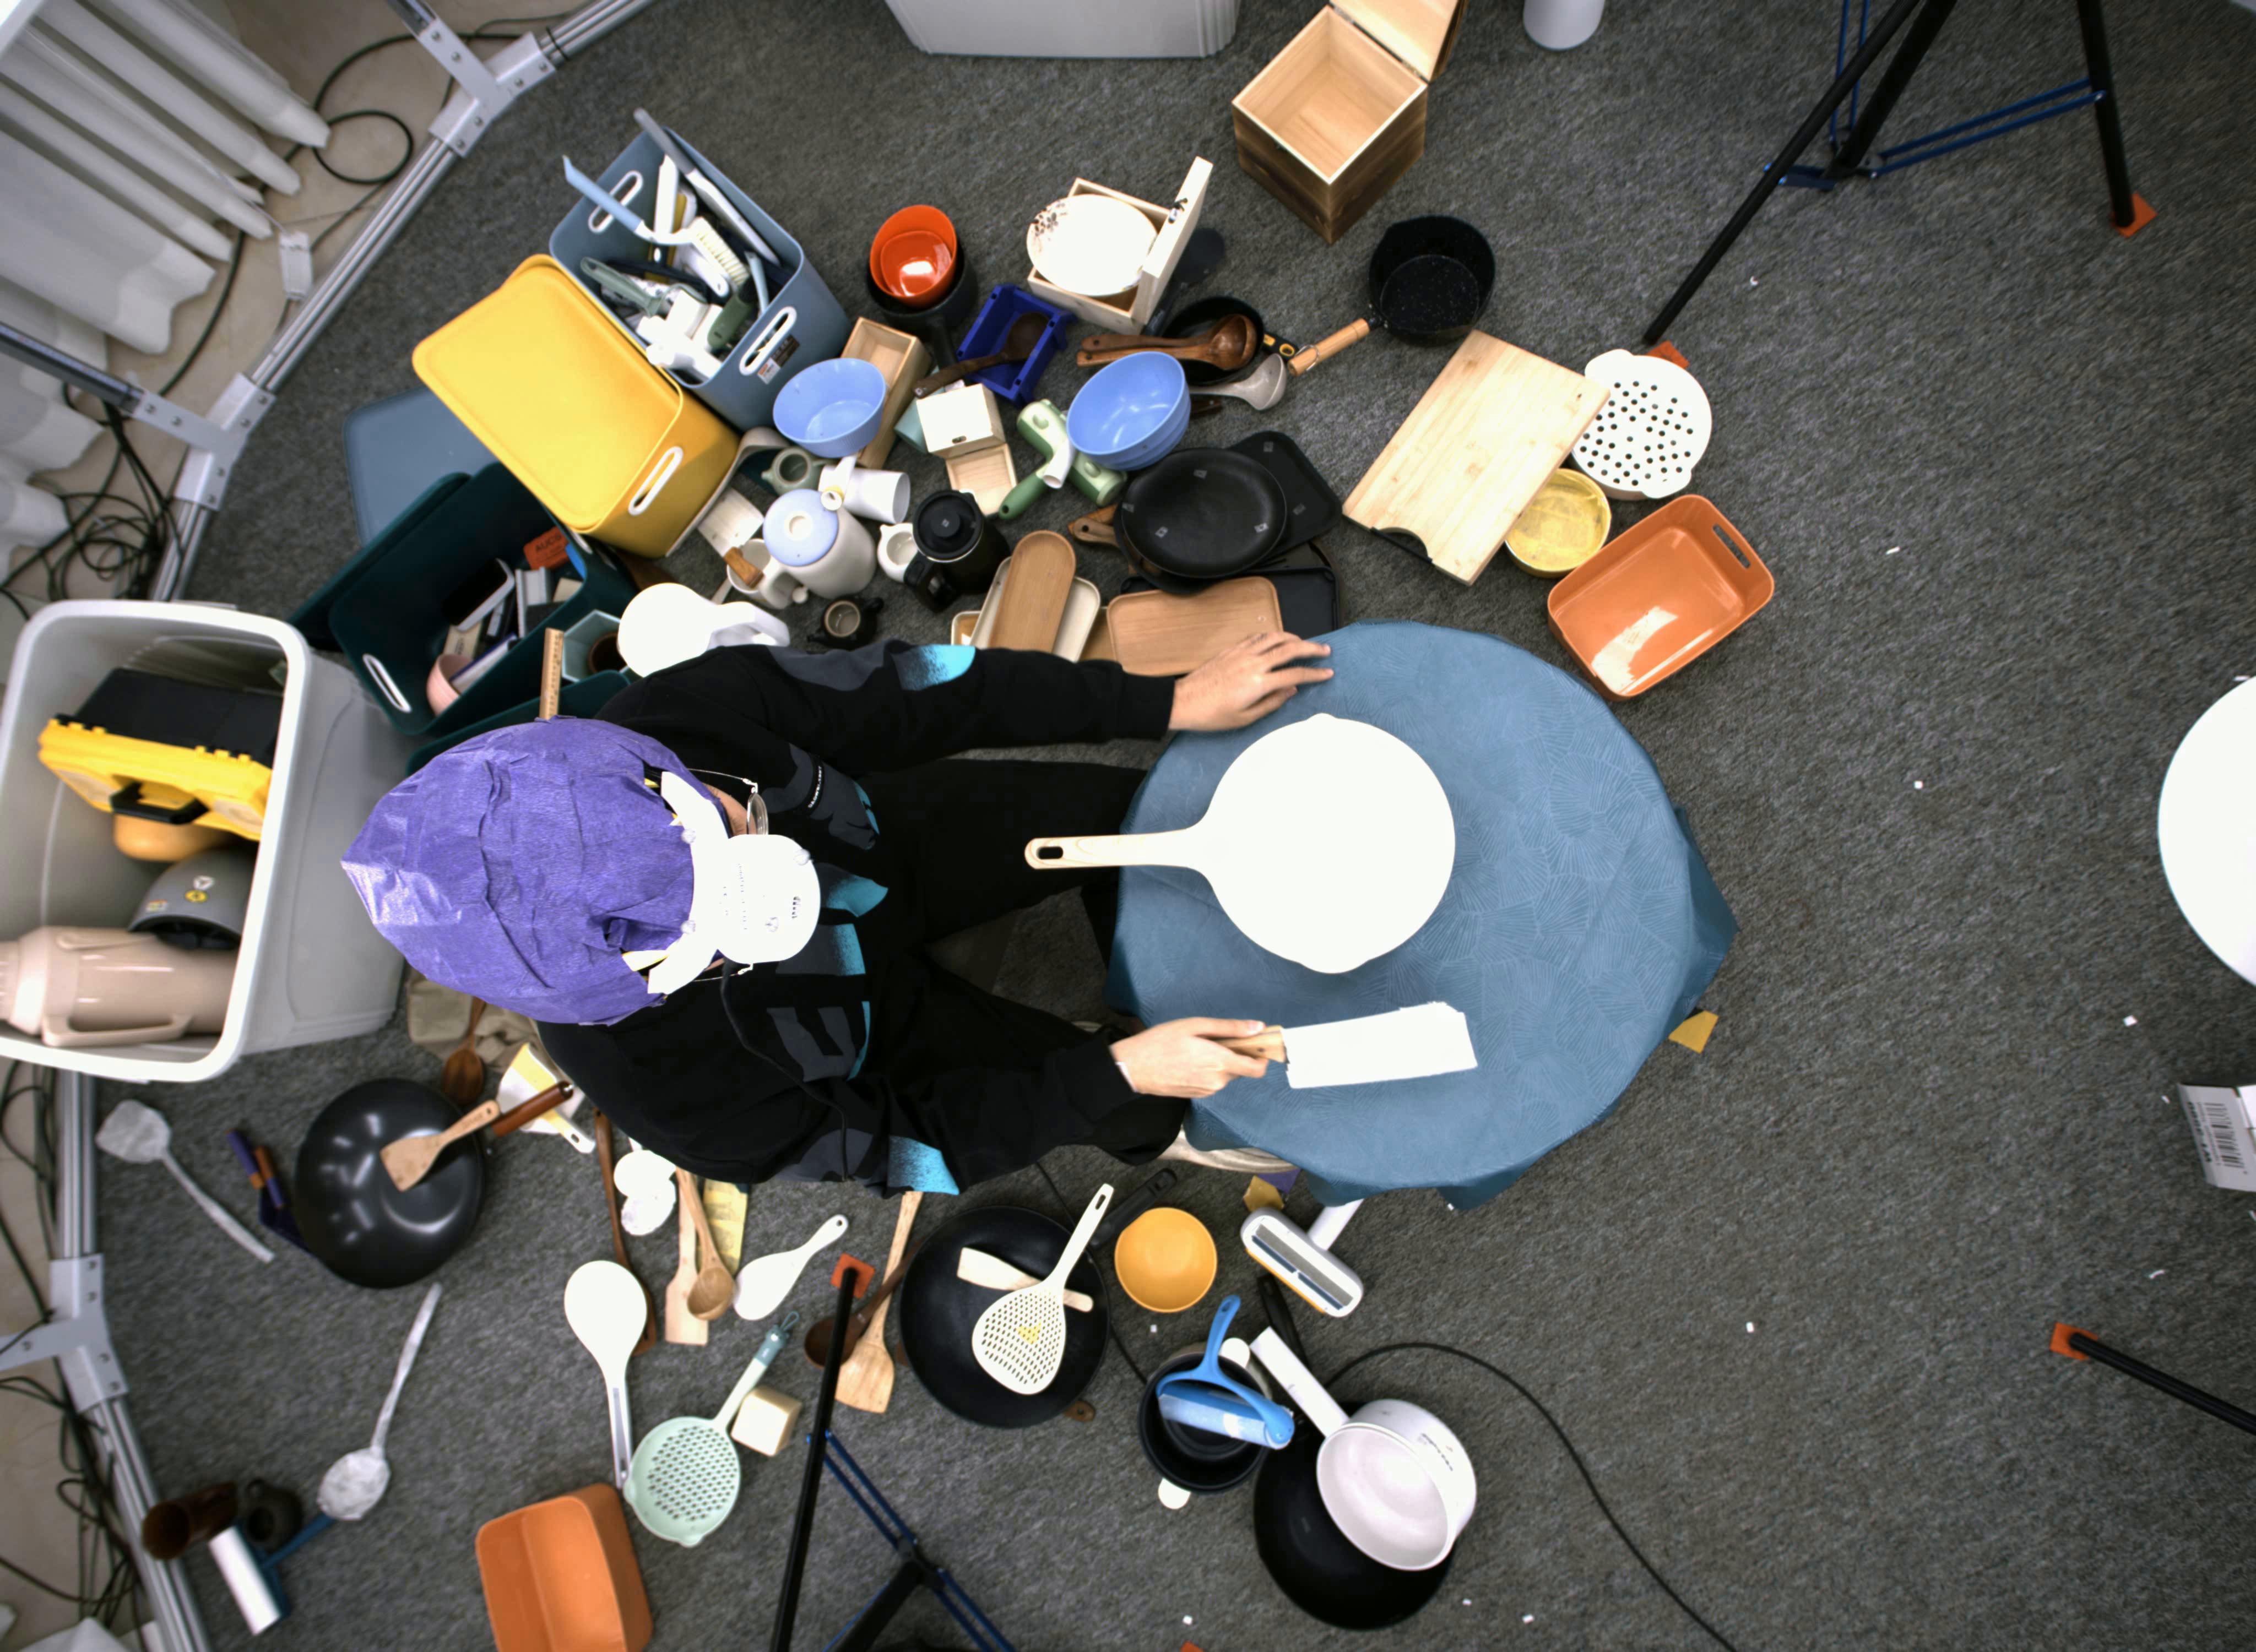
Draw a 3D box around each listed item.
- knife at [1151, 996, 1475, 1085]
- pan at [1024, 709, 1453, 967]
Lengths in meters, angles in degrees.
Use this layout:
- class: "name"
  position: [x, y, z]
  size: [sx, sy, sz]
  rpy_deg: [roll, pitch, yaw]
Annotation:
- class: "knife"
  position: [0.178, 0.215, 1.358]
  size: [0.317, 0.116, 0.021]
  rpy_deg: [-7, 41, 12]
- class: "pan"
  position: [0.115, 0.020, 1.441]
  size: [0.437, 0.102, 0.262]
  rpy_deg: [-4, 88, 10]
